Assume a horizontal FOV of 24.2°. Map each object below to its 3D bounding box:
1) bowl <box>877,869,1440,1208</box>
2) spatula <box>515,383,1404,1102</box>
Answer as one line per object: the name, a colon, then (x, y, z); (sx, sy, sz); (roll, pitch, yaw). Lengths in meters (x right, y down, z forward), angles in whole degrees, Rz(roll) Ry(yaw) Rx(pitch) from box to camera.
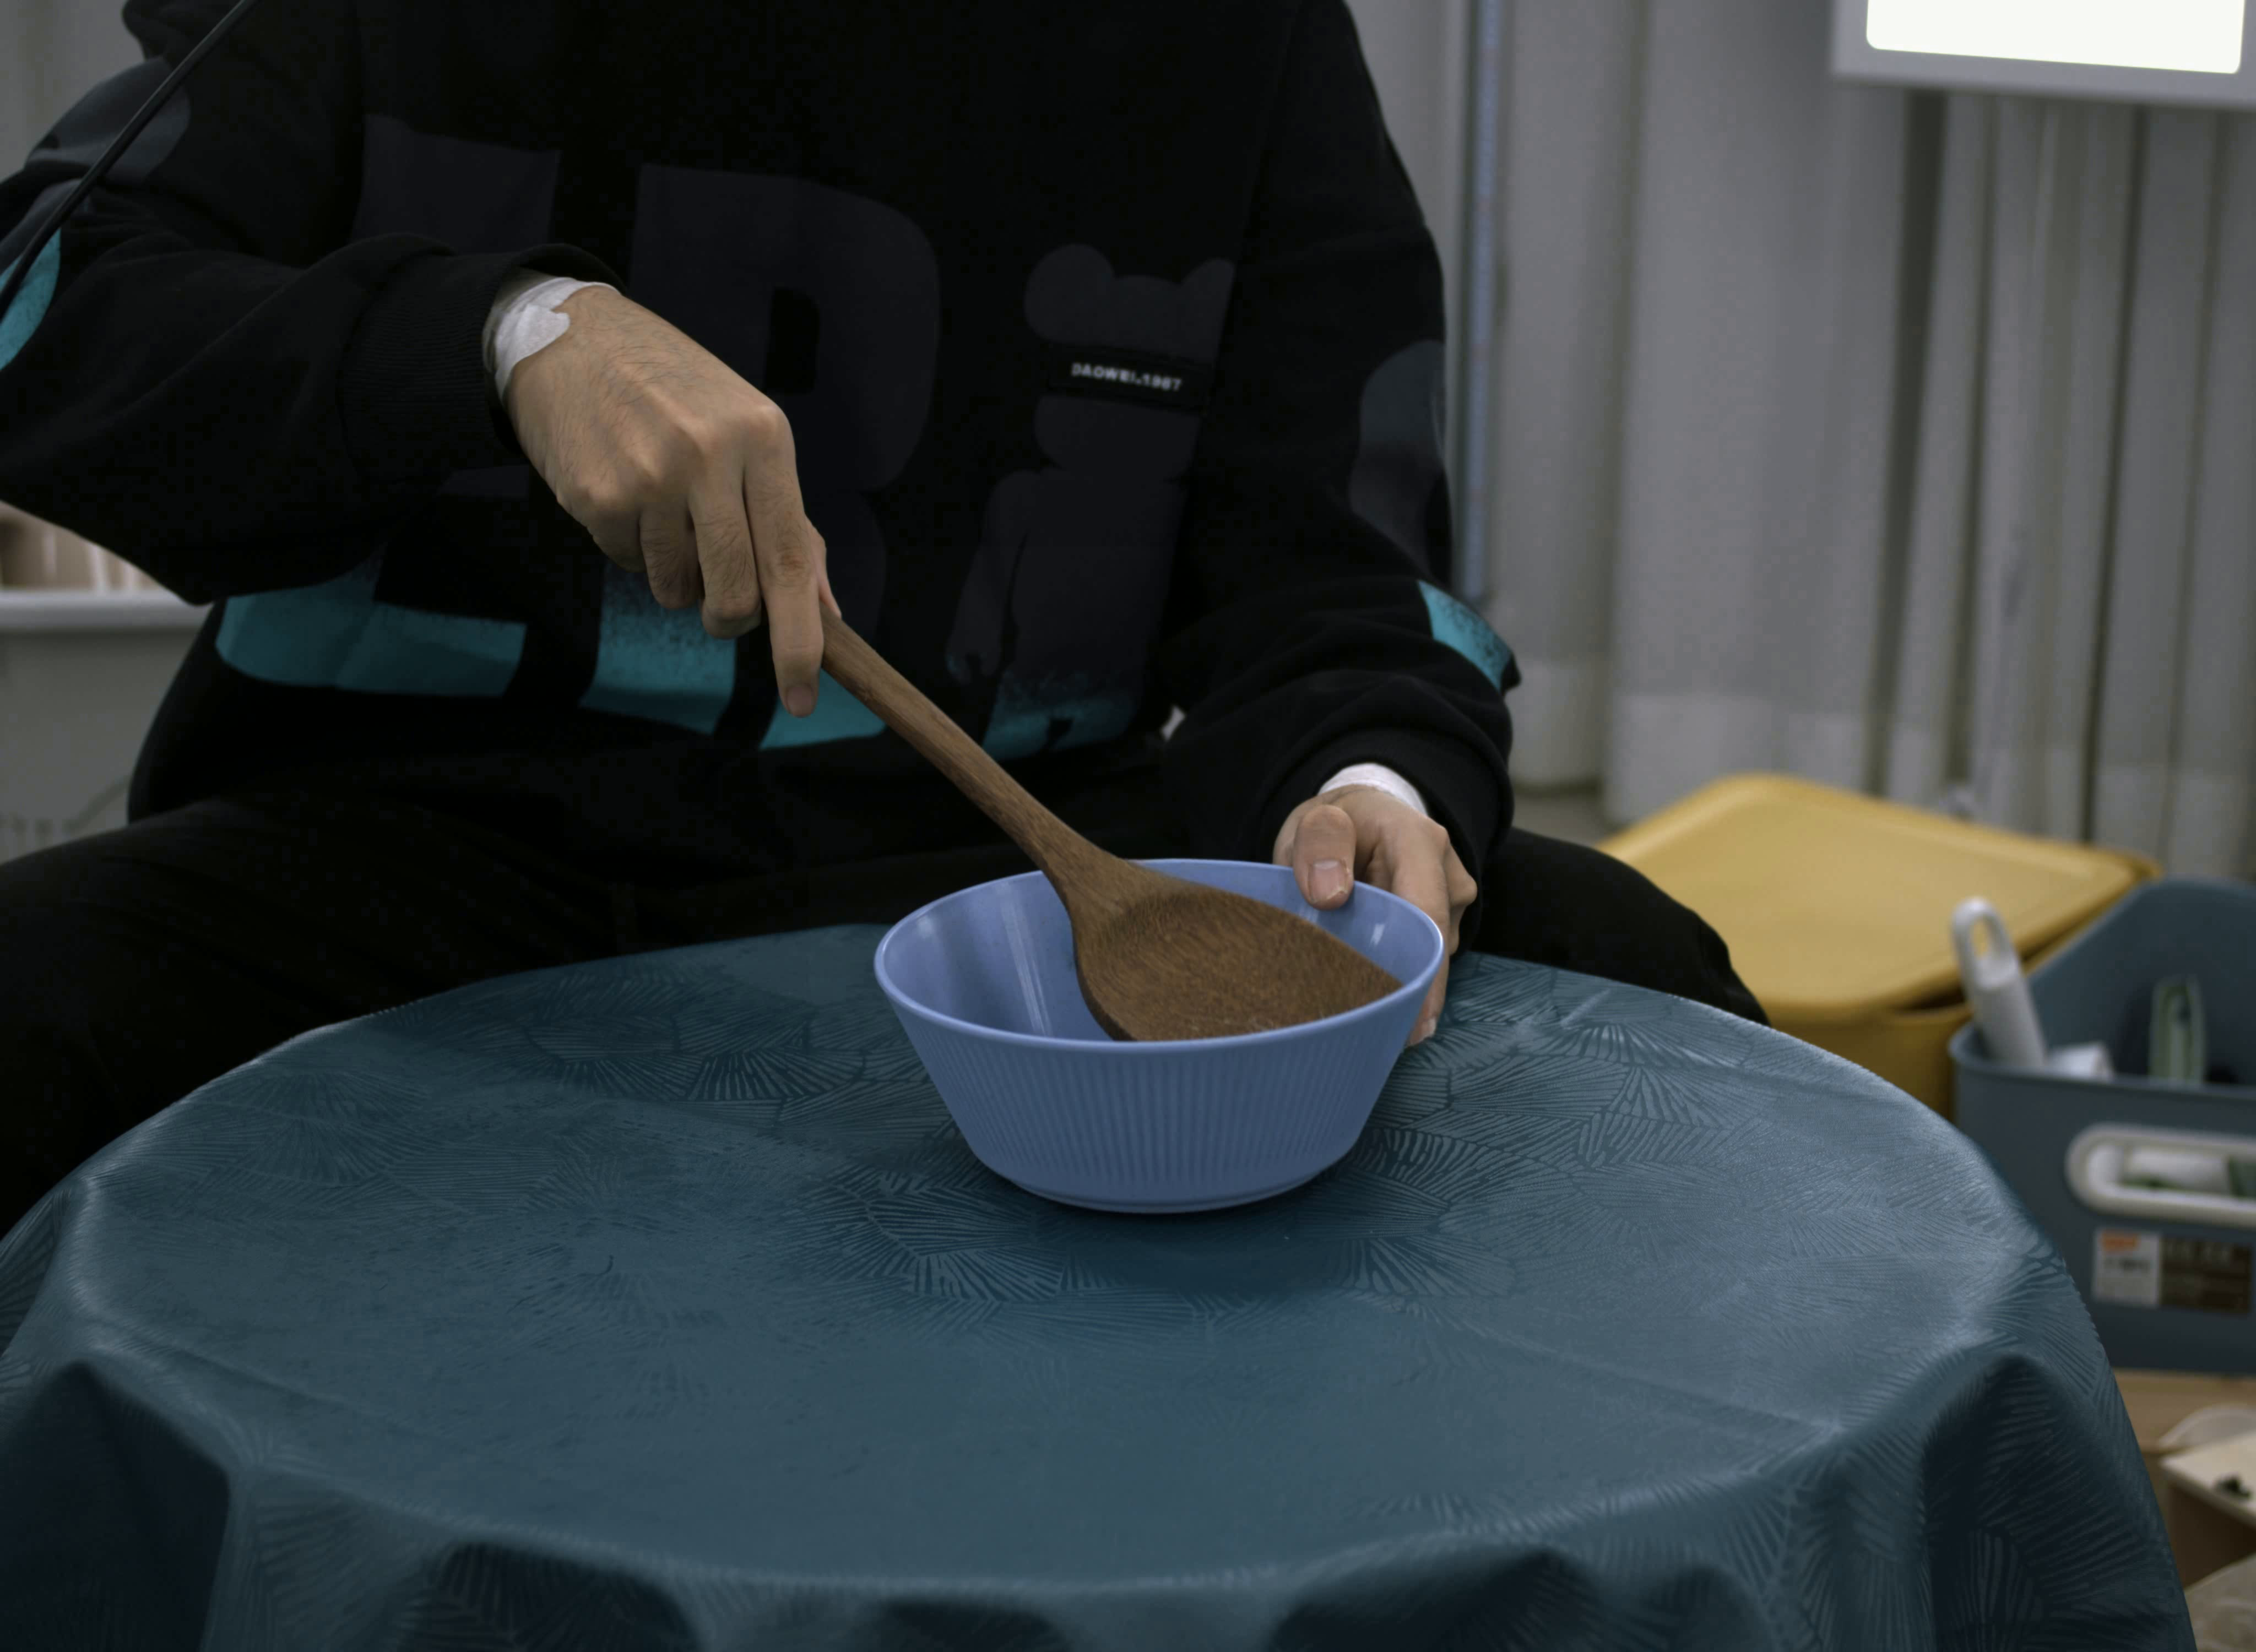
bowl: (0.010, 0.069, 1.636); (0.175, 0.071, 0.175); (-1, 16, 1)
spatula: (-0.068, -0.036, 1.672); (0.382, 0.016, 0.096); (41, 44, 24)
